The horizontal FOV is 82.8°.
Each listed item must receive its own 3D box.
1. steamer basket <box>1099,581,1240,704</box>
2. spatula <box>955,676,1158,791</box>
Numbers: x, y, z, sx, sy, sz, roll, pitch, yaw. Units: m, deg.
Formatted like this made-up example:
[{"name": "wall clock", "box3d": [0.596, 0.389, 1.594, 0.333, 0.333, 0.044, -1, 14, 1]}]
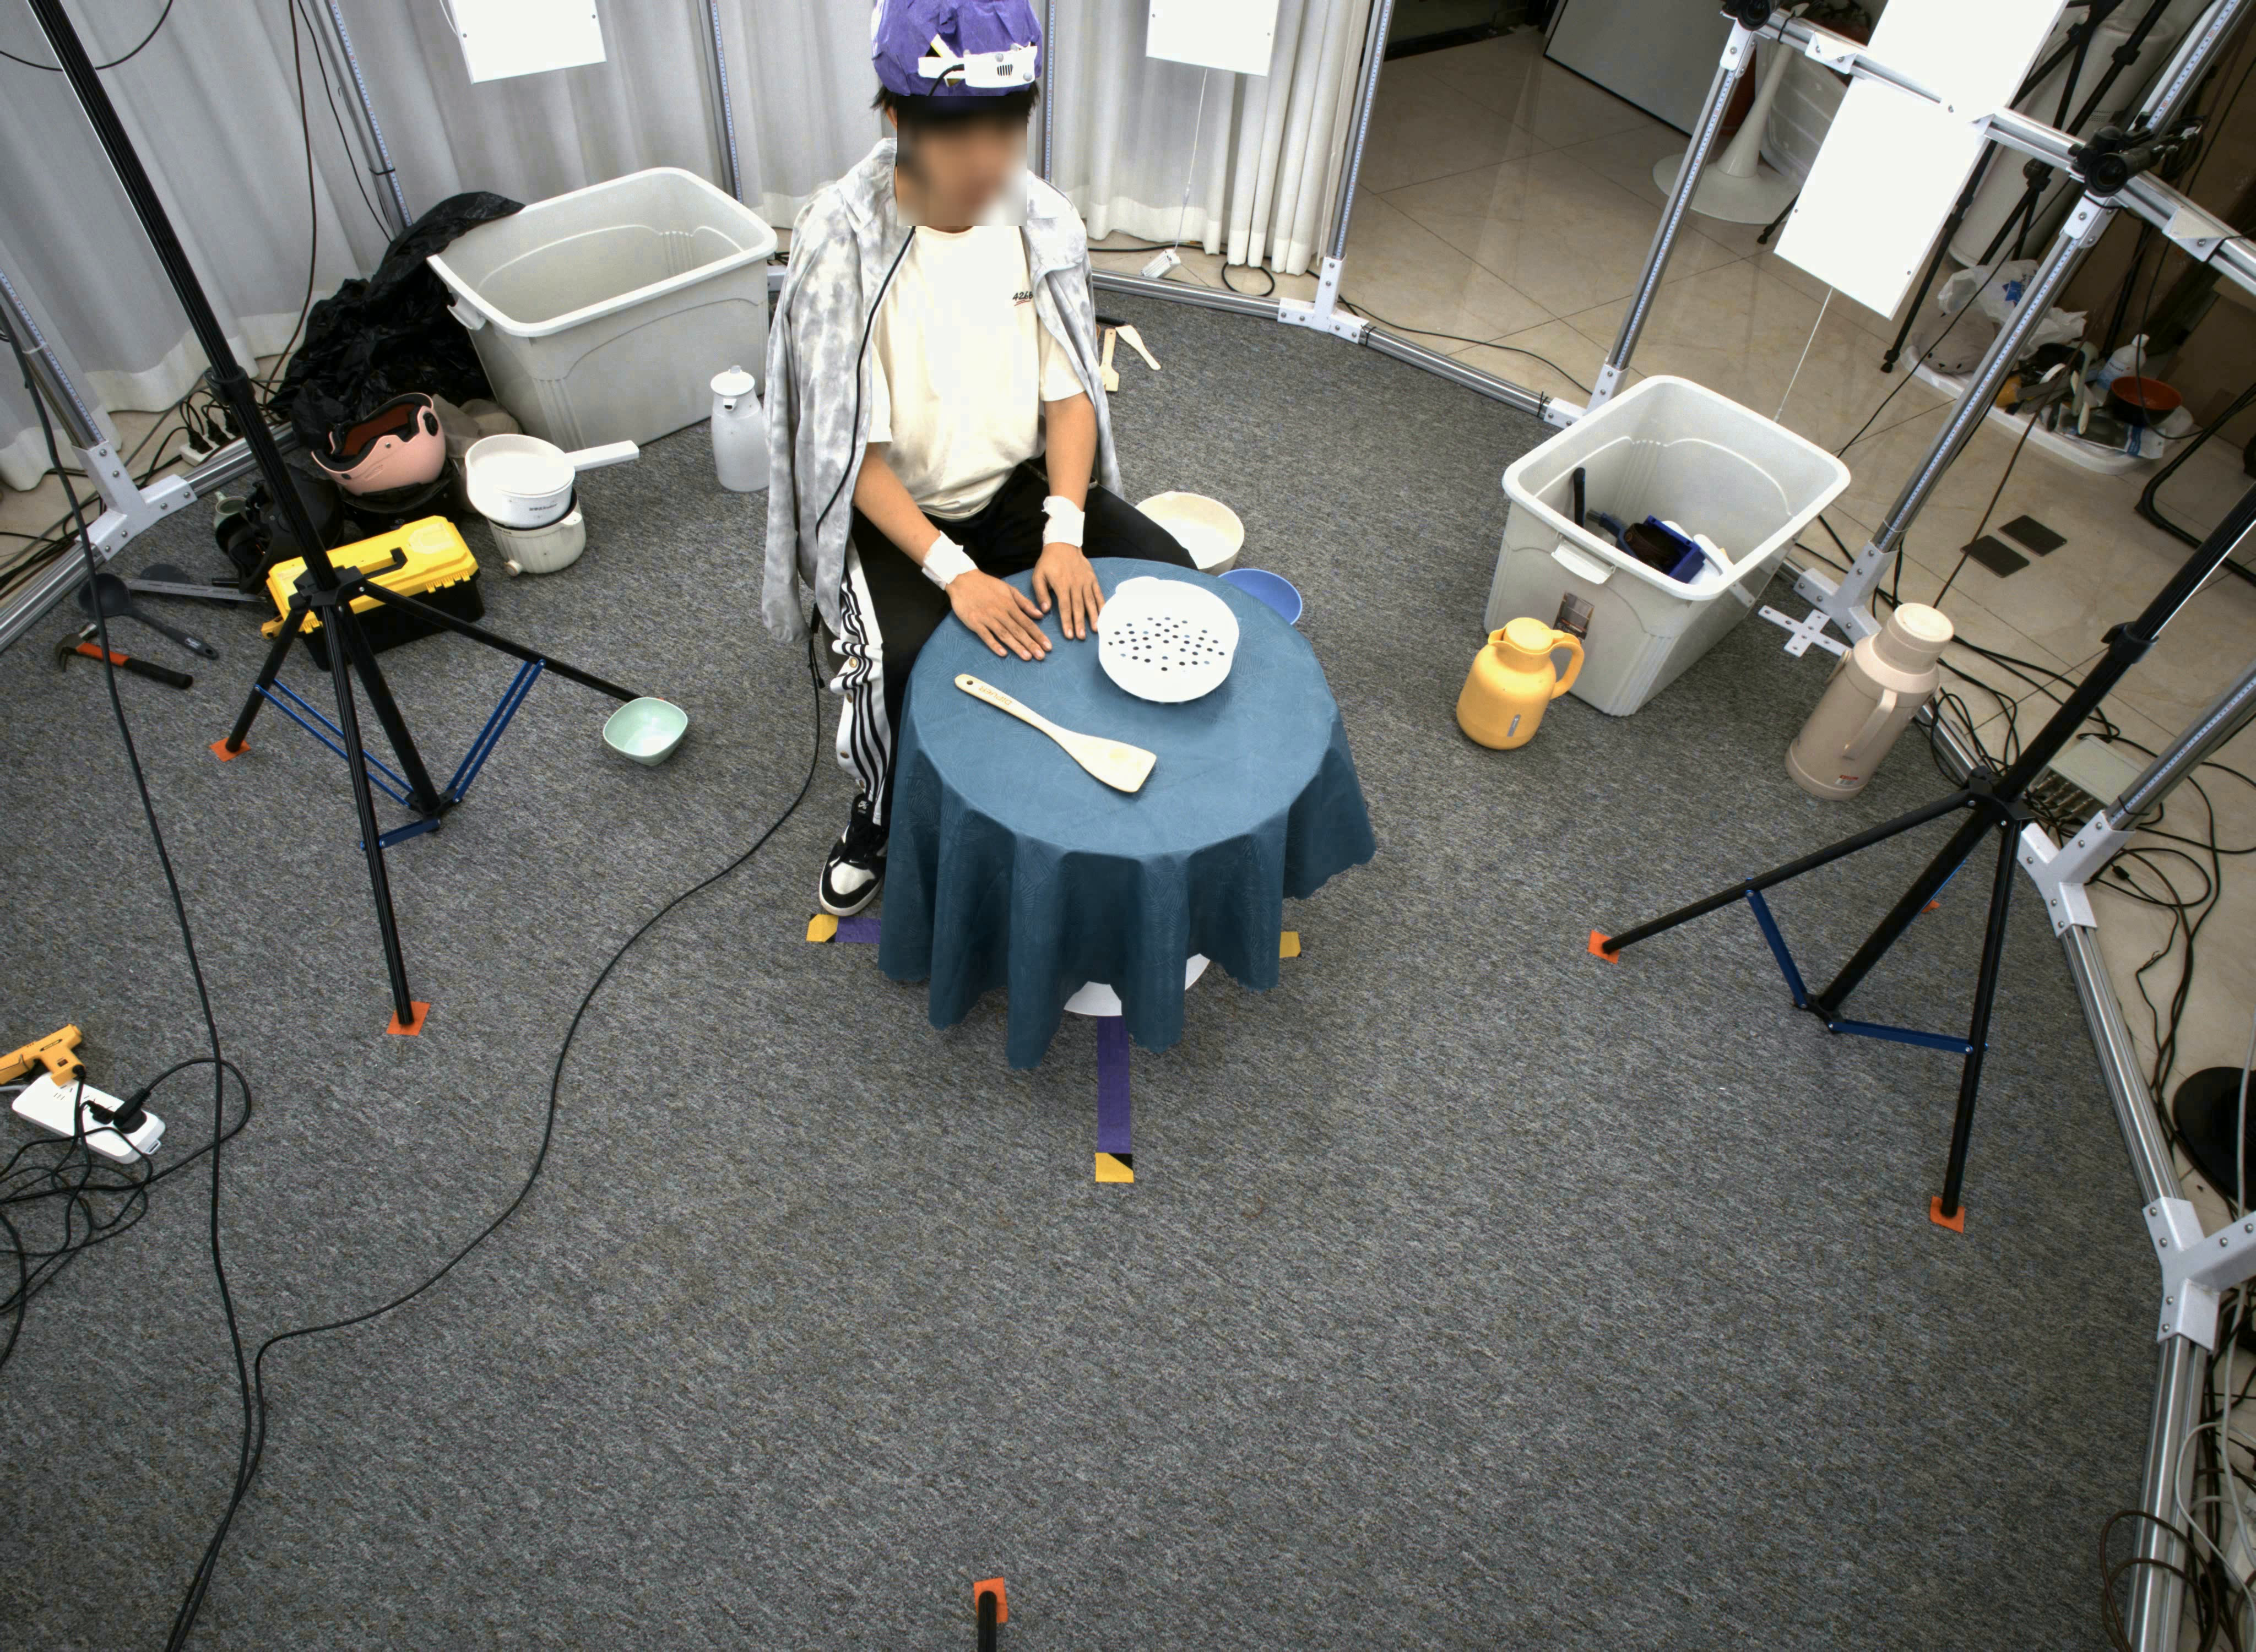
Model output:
[{"name": "steamer basket", "box3d": [0.058, -0.261, 1.850, 0.202, 0.067, 0.236, -17, 51, -20]}, {"name": "spatula", "box3d": [-0.104, -0.137, 1.761, 0.331, 0.016, 0.081, 29, 52, 20]}]
